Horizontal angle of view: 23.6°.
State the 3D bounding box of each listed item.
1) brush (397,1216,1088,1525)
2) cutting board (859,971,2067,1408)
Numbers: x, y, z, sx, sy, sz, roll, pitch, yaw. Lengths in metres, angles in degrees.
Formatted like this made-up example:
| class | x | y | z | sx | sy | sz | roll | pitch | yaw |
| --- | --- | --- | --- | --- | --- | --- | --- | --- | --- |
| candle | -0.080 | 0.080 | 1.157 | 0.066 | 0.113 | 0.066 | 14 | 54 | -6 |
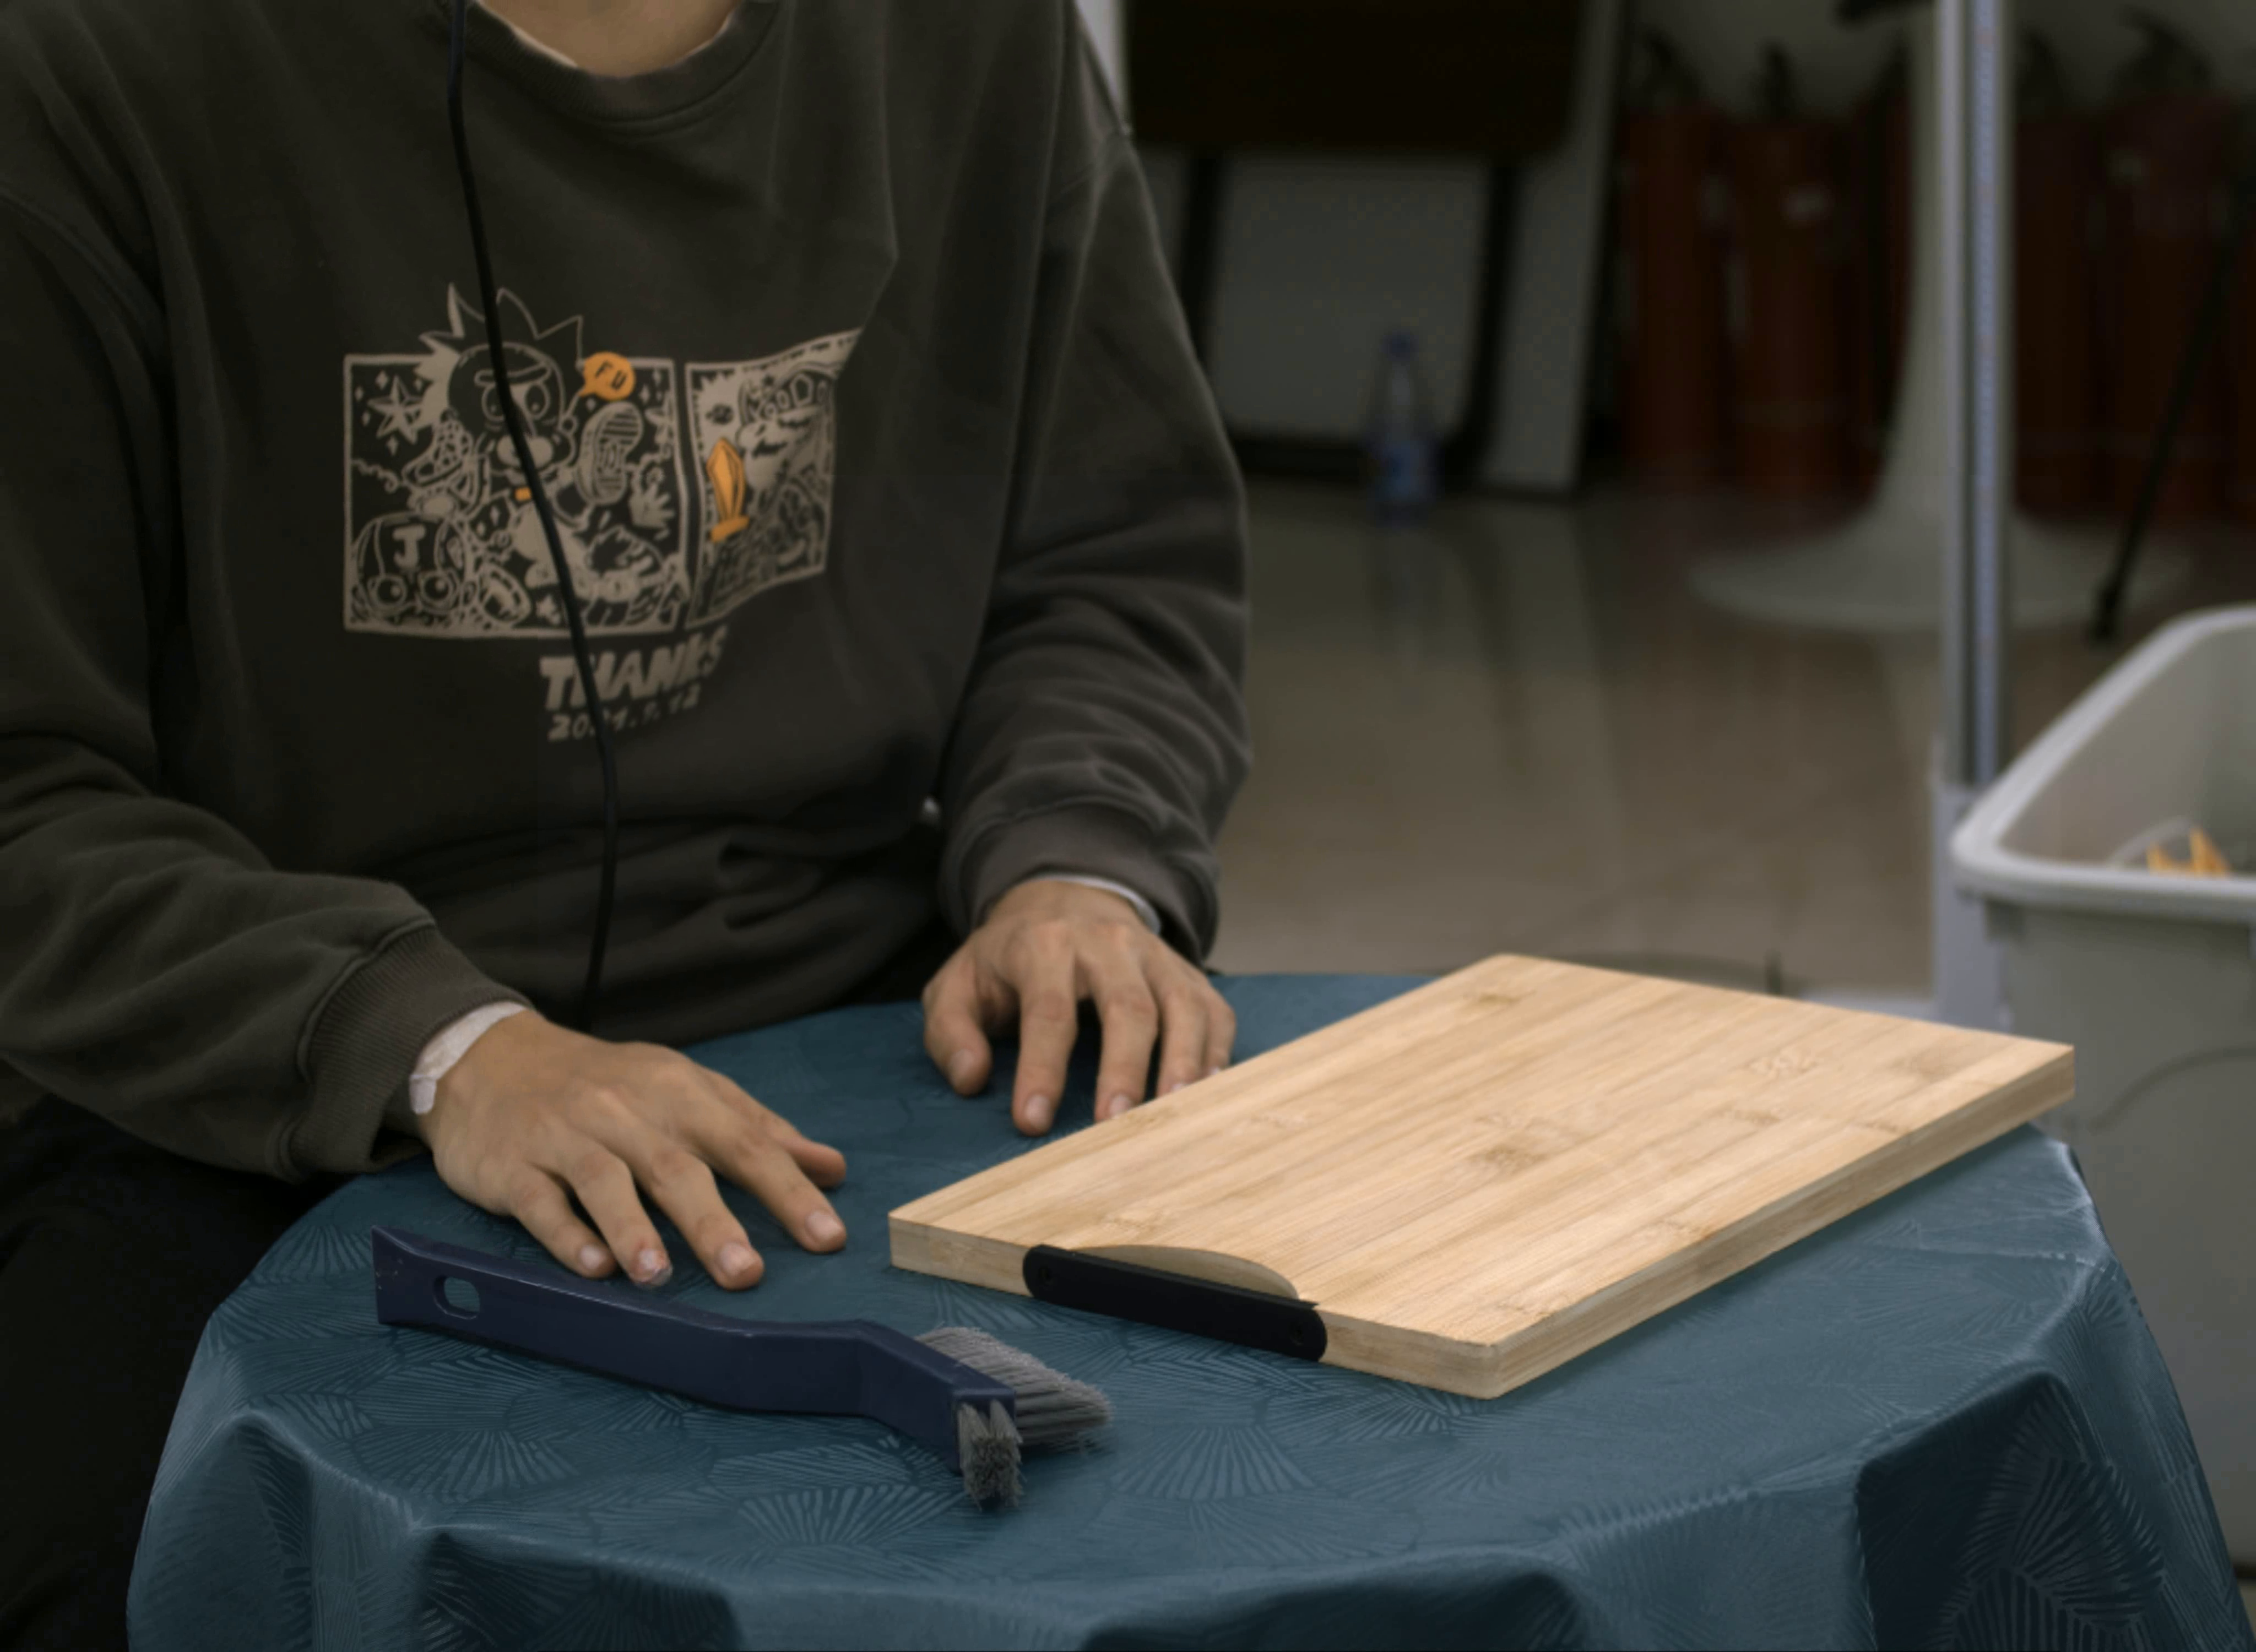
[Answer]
| class | x | y | z | sx | sy | sz | roll | pitch | yaw |
| --- | --- | --- | --- | --- | --- | --- | --- | --- | --- |
| brush | -0.131 | 0.158 | 1.599 | 0.275 | 0.034 | 0.094 | 6 | 17 | 34 |
| cutting board | 0.116 | 0.112 | 1.751 | 0.252 | 0.024 | 0.342 | 6 | 17 | 39 |
